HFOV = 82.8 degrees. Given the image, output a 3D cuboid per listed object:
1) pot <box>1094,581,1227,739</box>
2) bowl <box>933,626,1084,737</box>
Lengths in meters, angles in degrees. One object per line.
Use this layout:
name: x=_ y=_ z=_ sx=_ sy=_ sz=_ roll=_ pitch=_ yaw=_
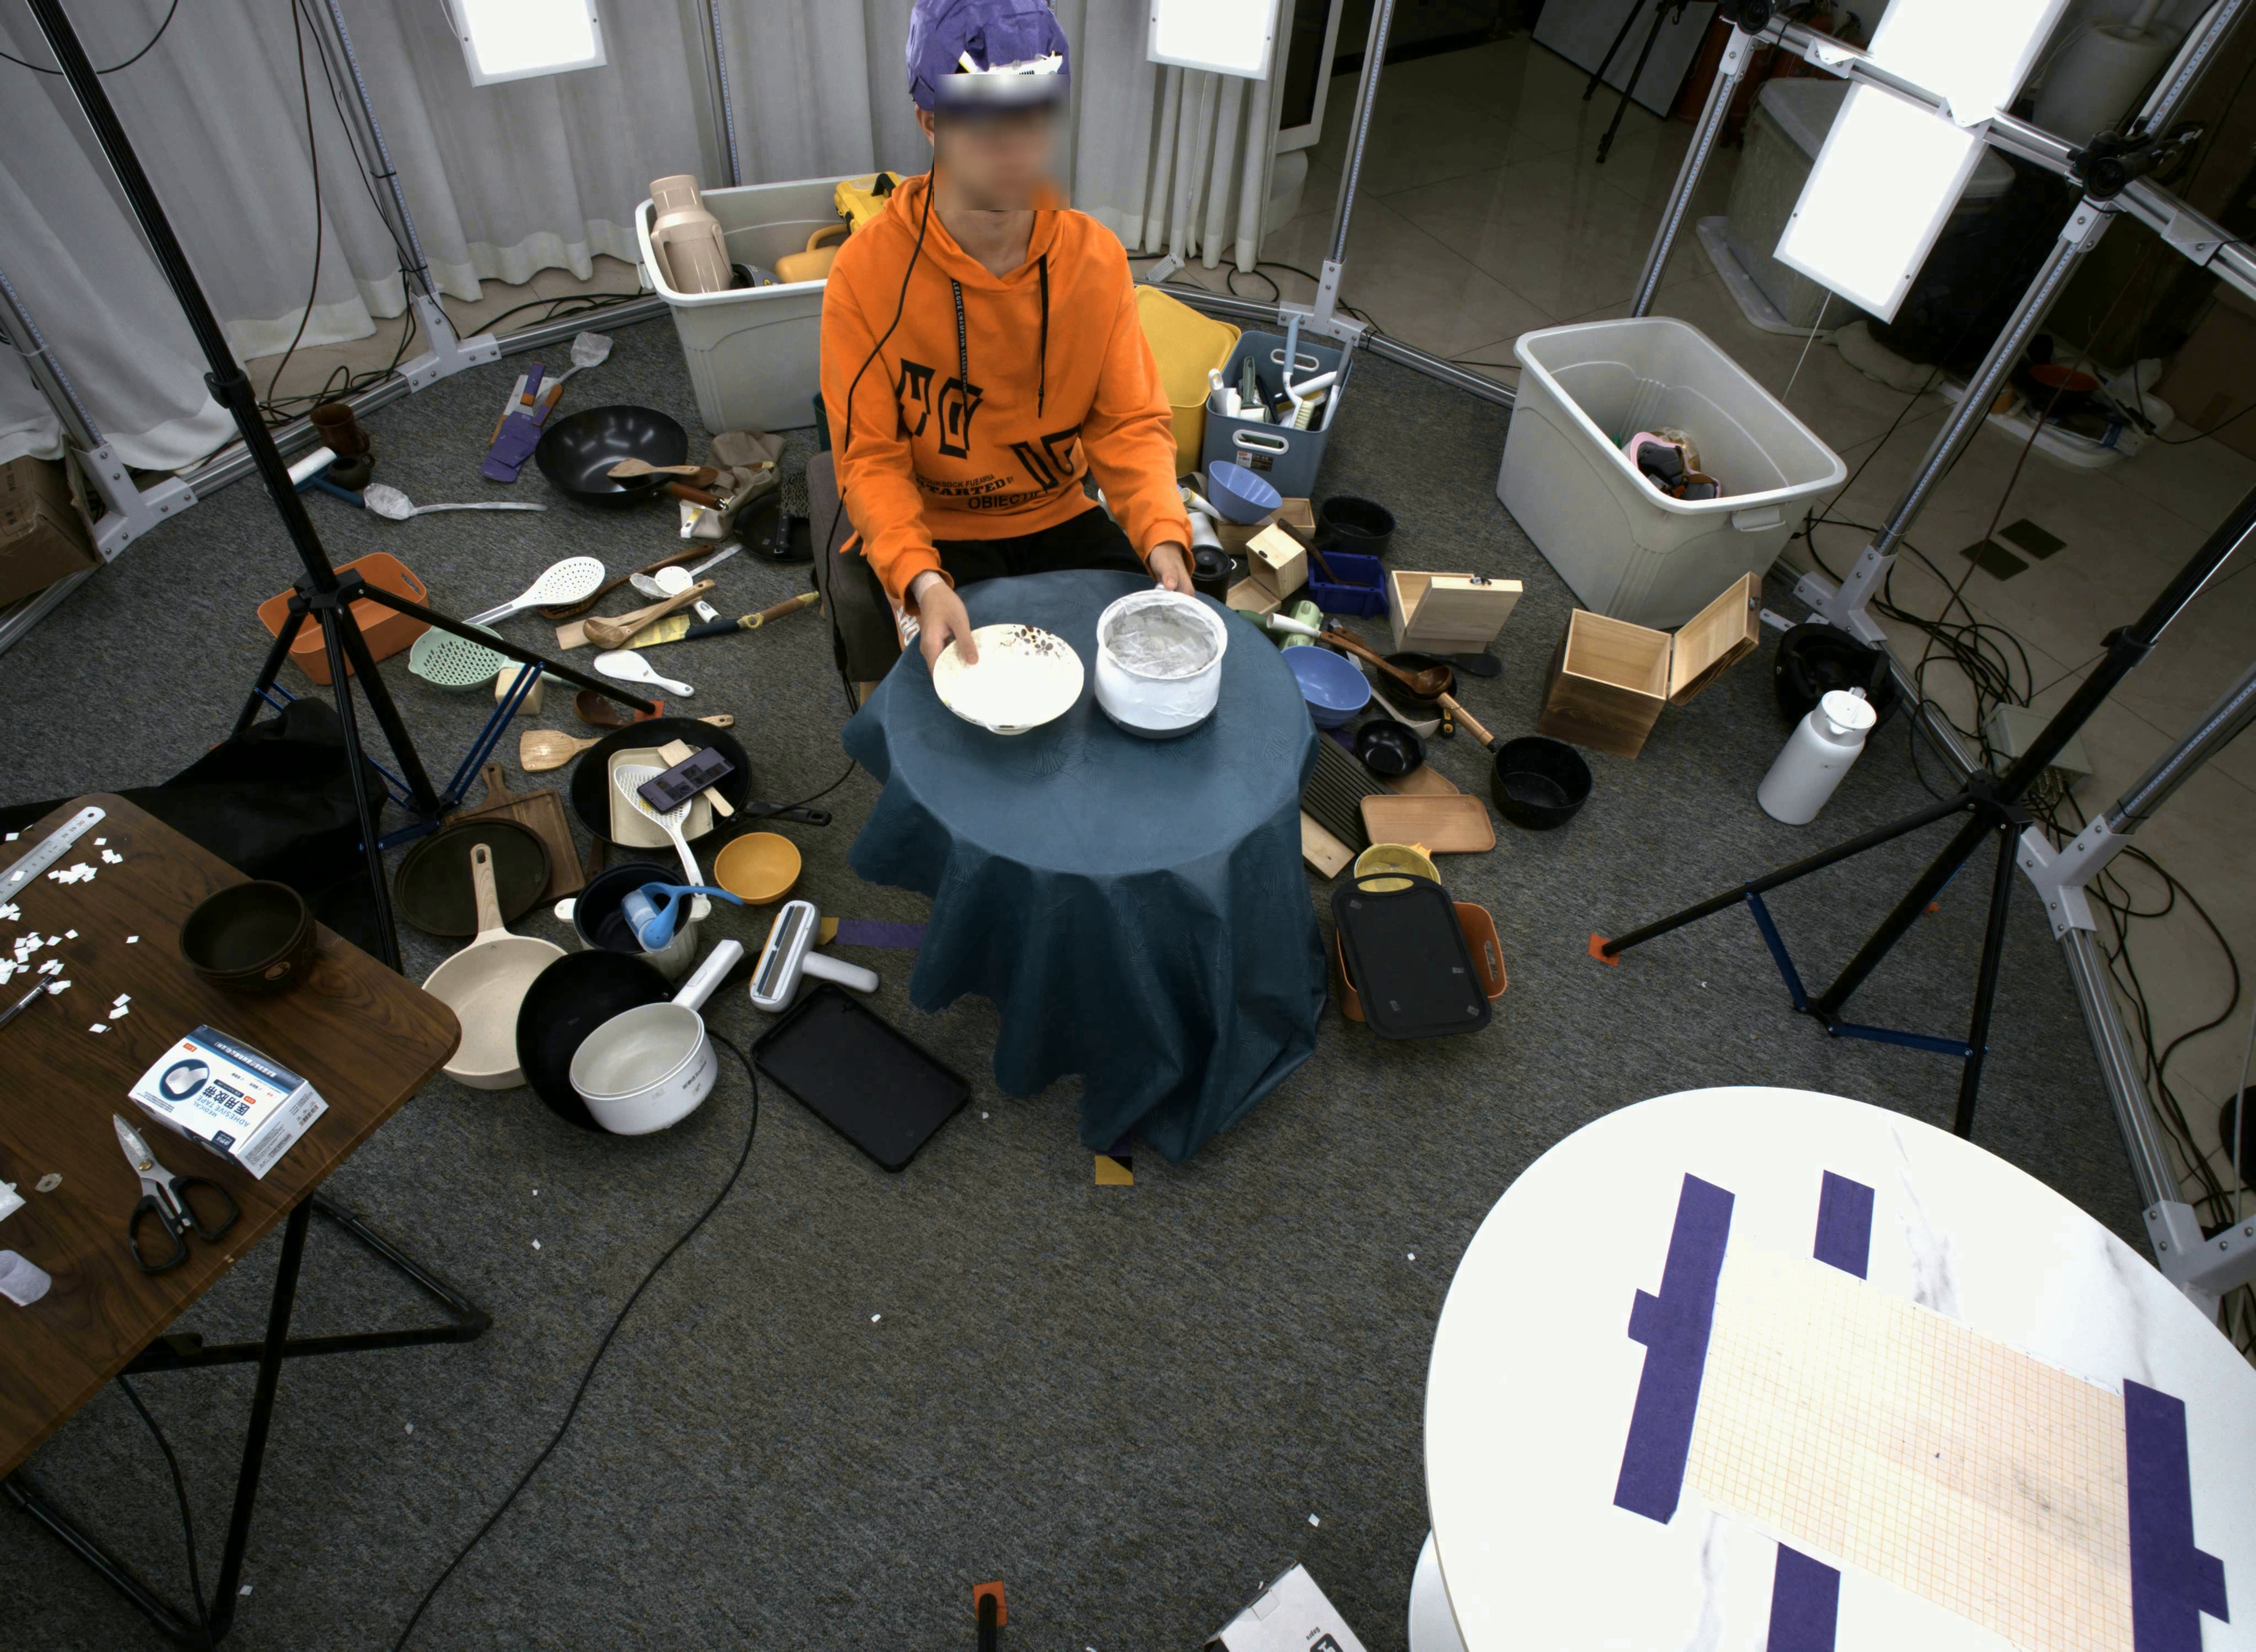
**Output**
pot: x=0.043 y=-0.241 z=1.793 sx=0.178 sy=0.133 sz=0.239 roll=4 pitch=49 yaw=-1
bowl: x=-0.163 y=-0.180 z=1.766 sx=0.204 sy=0.076 sz=0.209 roll=1 pitch=47 yaw=-2
